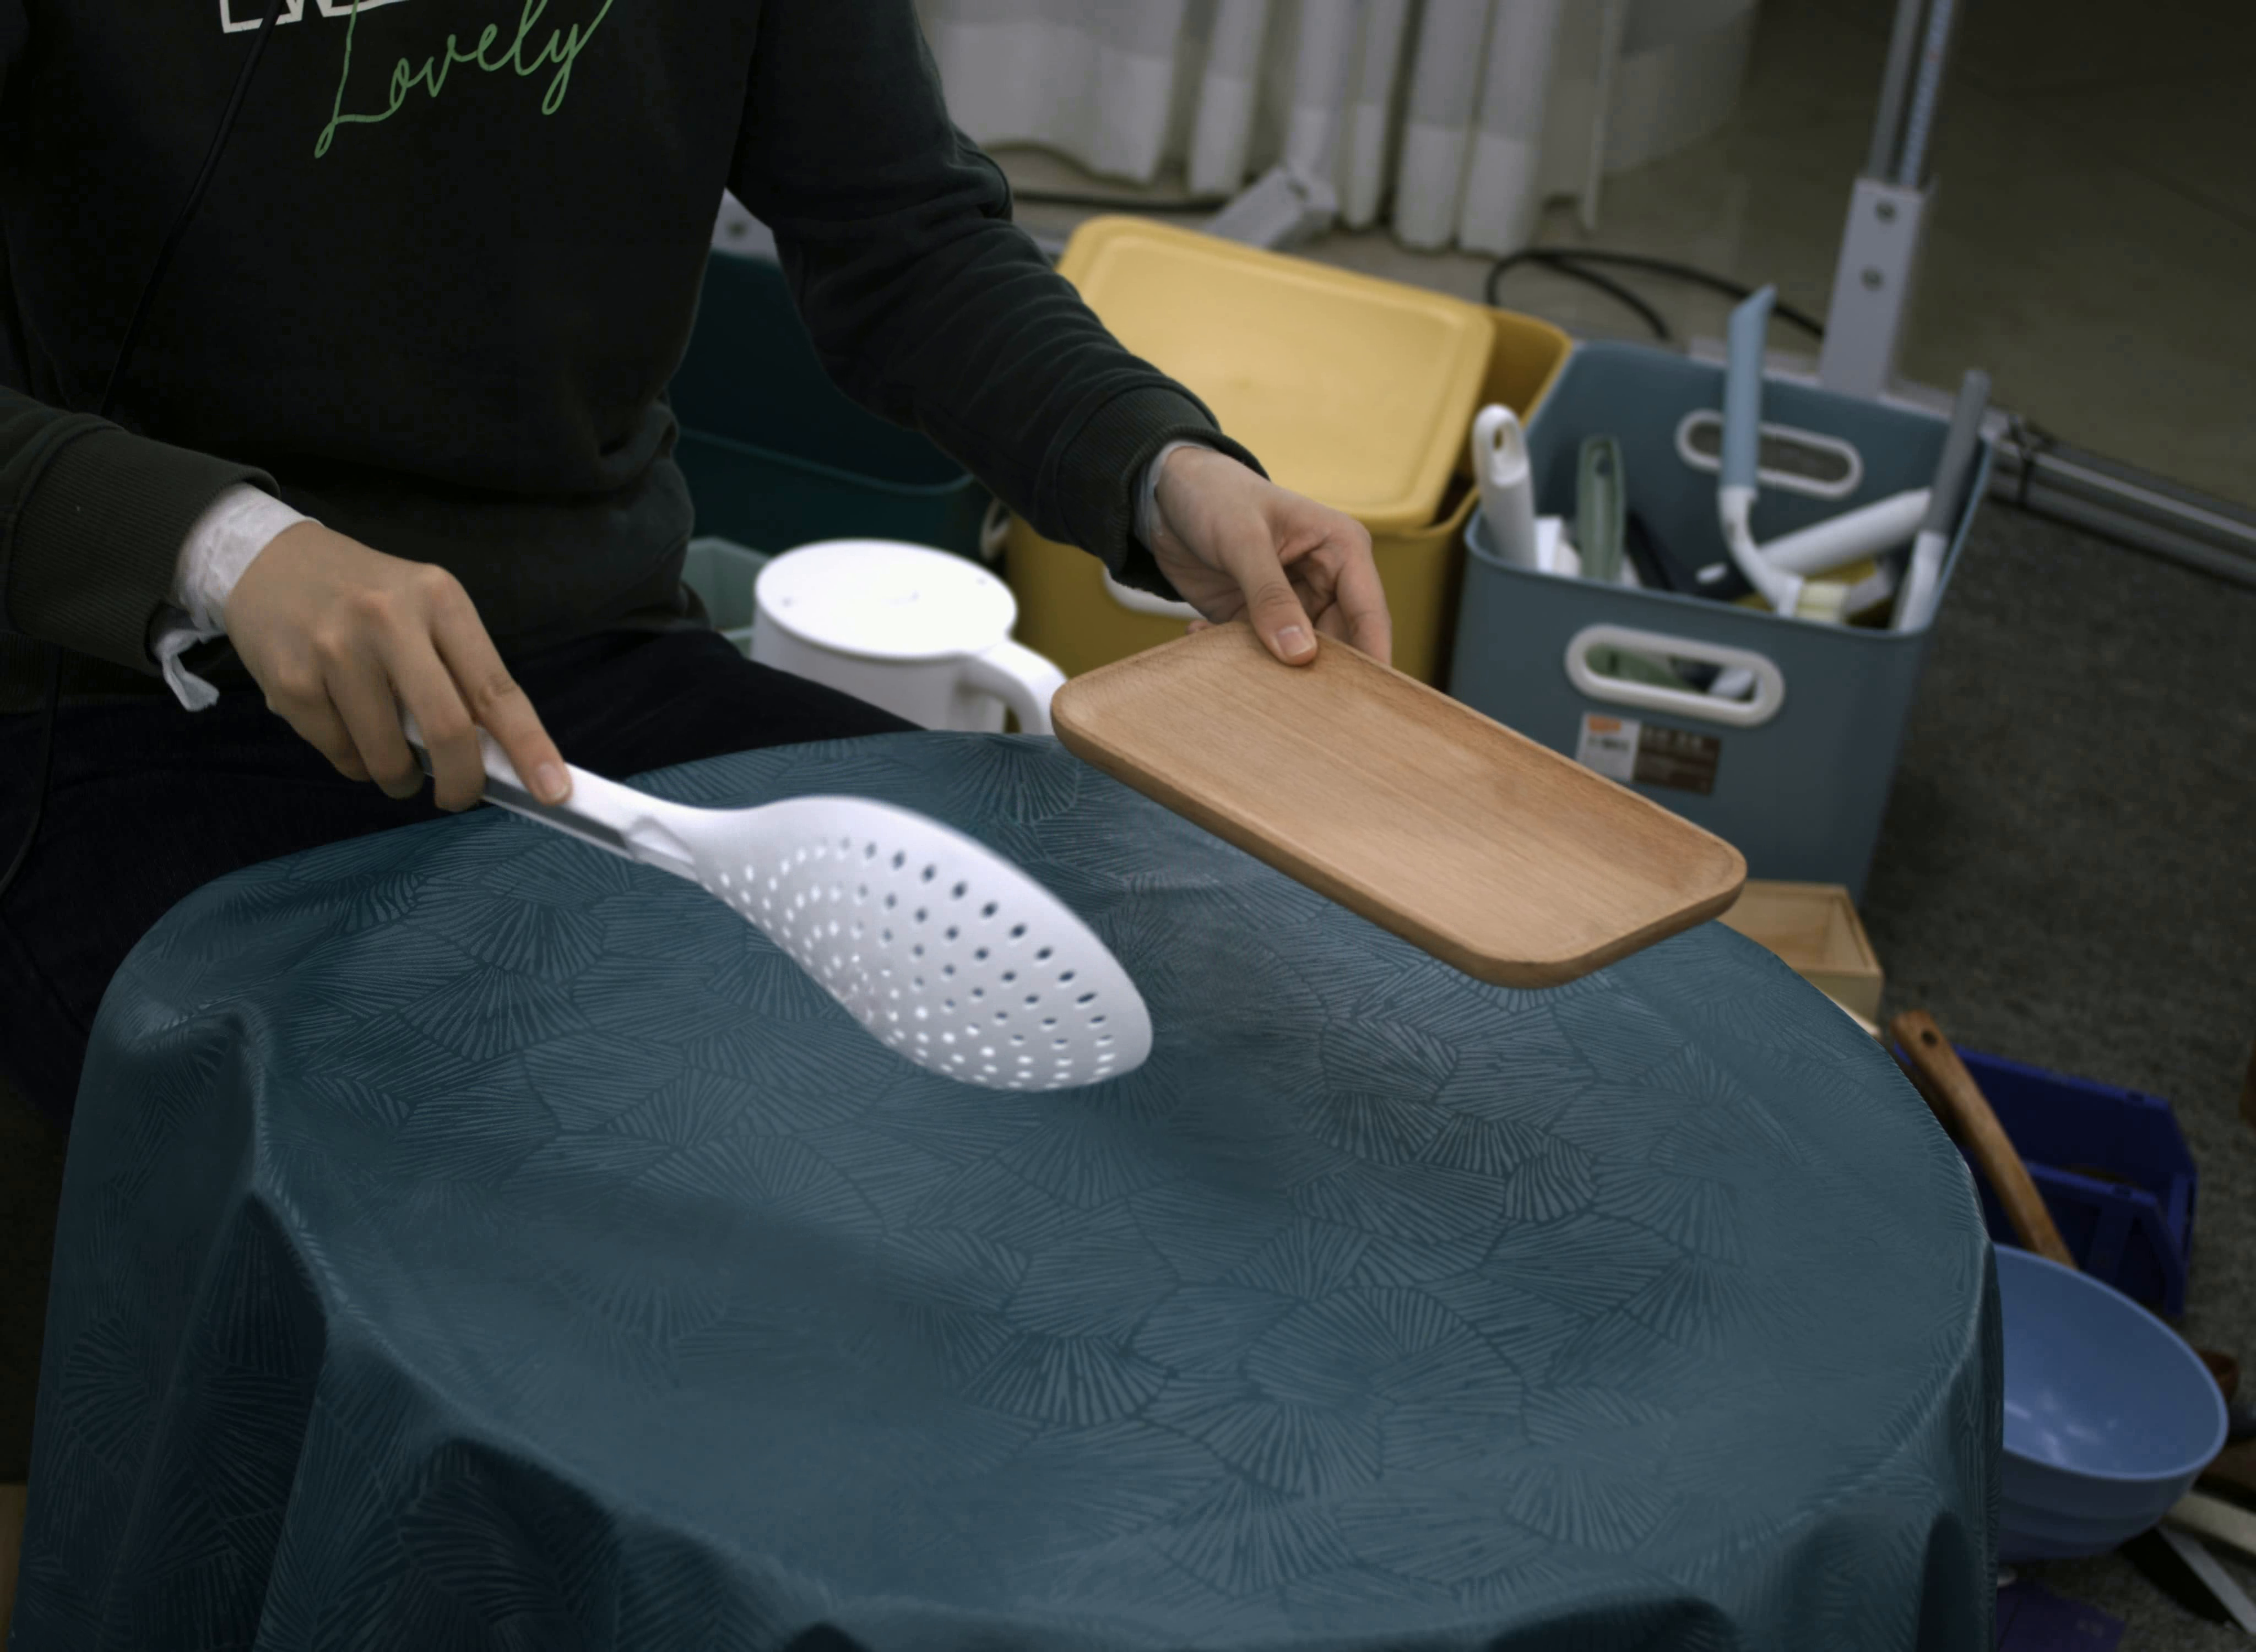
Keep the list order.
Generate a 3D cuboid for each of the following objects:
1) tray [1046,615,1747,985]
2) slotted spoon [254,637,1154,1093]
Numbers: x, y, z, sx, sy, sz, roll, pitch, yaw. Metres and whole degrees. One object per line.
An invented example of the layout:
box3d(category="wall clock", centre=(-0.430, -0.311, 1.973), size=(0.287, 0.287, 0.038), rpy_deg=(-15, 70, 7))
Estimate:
box3d(category="tray", centre=(0.090, -0.011, 1.844), size=(0.130, 0.023, 0.253), rpy_deg=(-19, 34, -38))
box3d(category="slotted spoon", centre=(-0.144, 0.003, 1.712), size=(0.352, 0.135, 0.046), rpy_deg=(25, 58, 29))
